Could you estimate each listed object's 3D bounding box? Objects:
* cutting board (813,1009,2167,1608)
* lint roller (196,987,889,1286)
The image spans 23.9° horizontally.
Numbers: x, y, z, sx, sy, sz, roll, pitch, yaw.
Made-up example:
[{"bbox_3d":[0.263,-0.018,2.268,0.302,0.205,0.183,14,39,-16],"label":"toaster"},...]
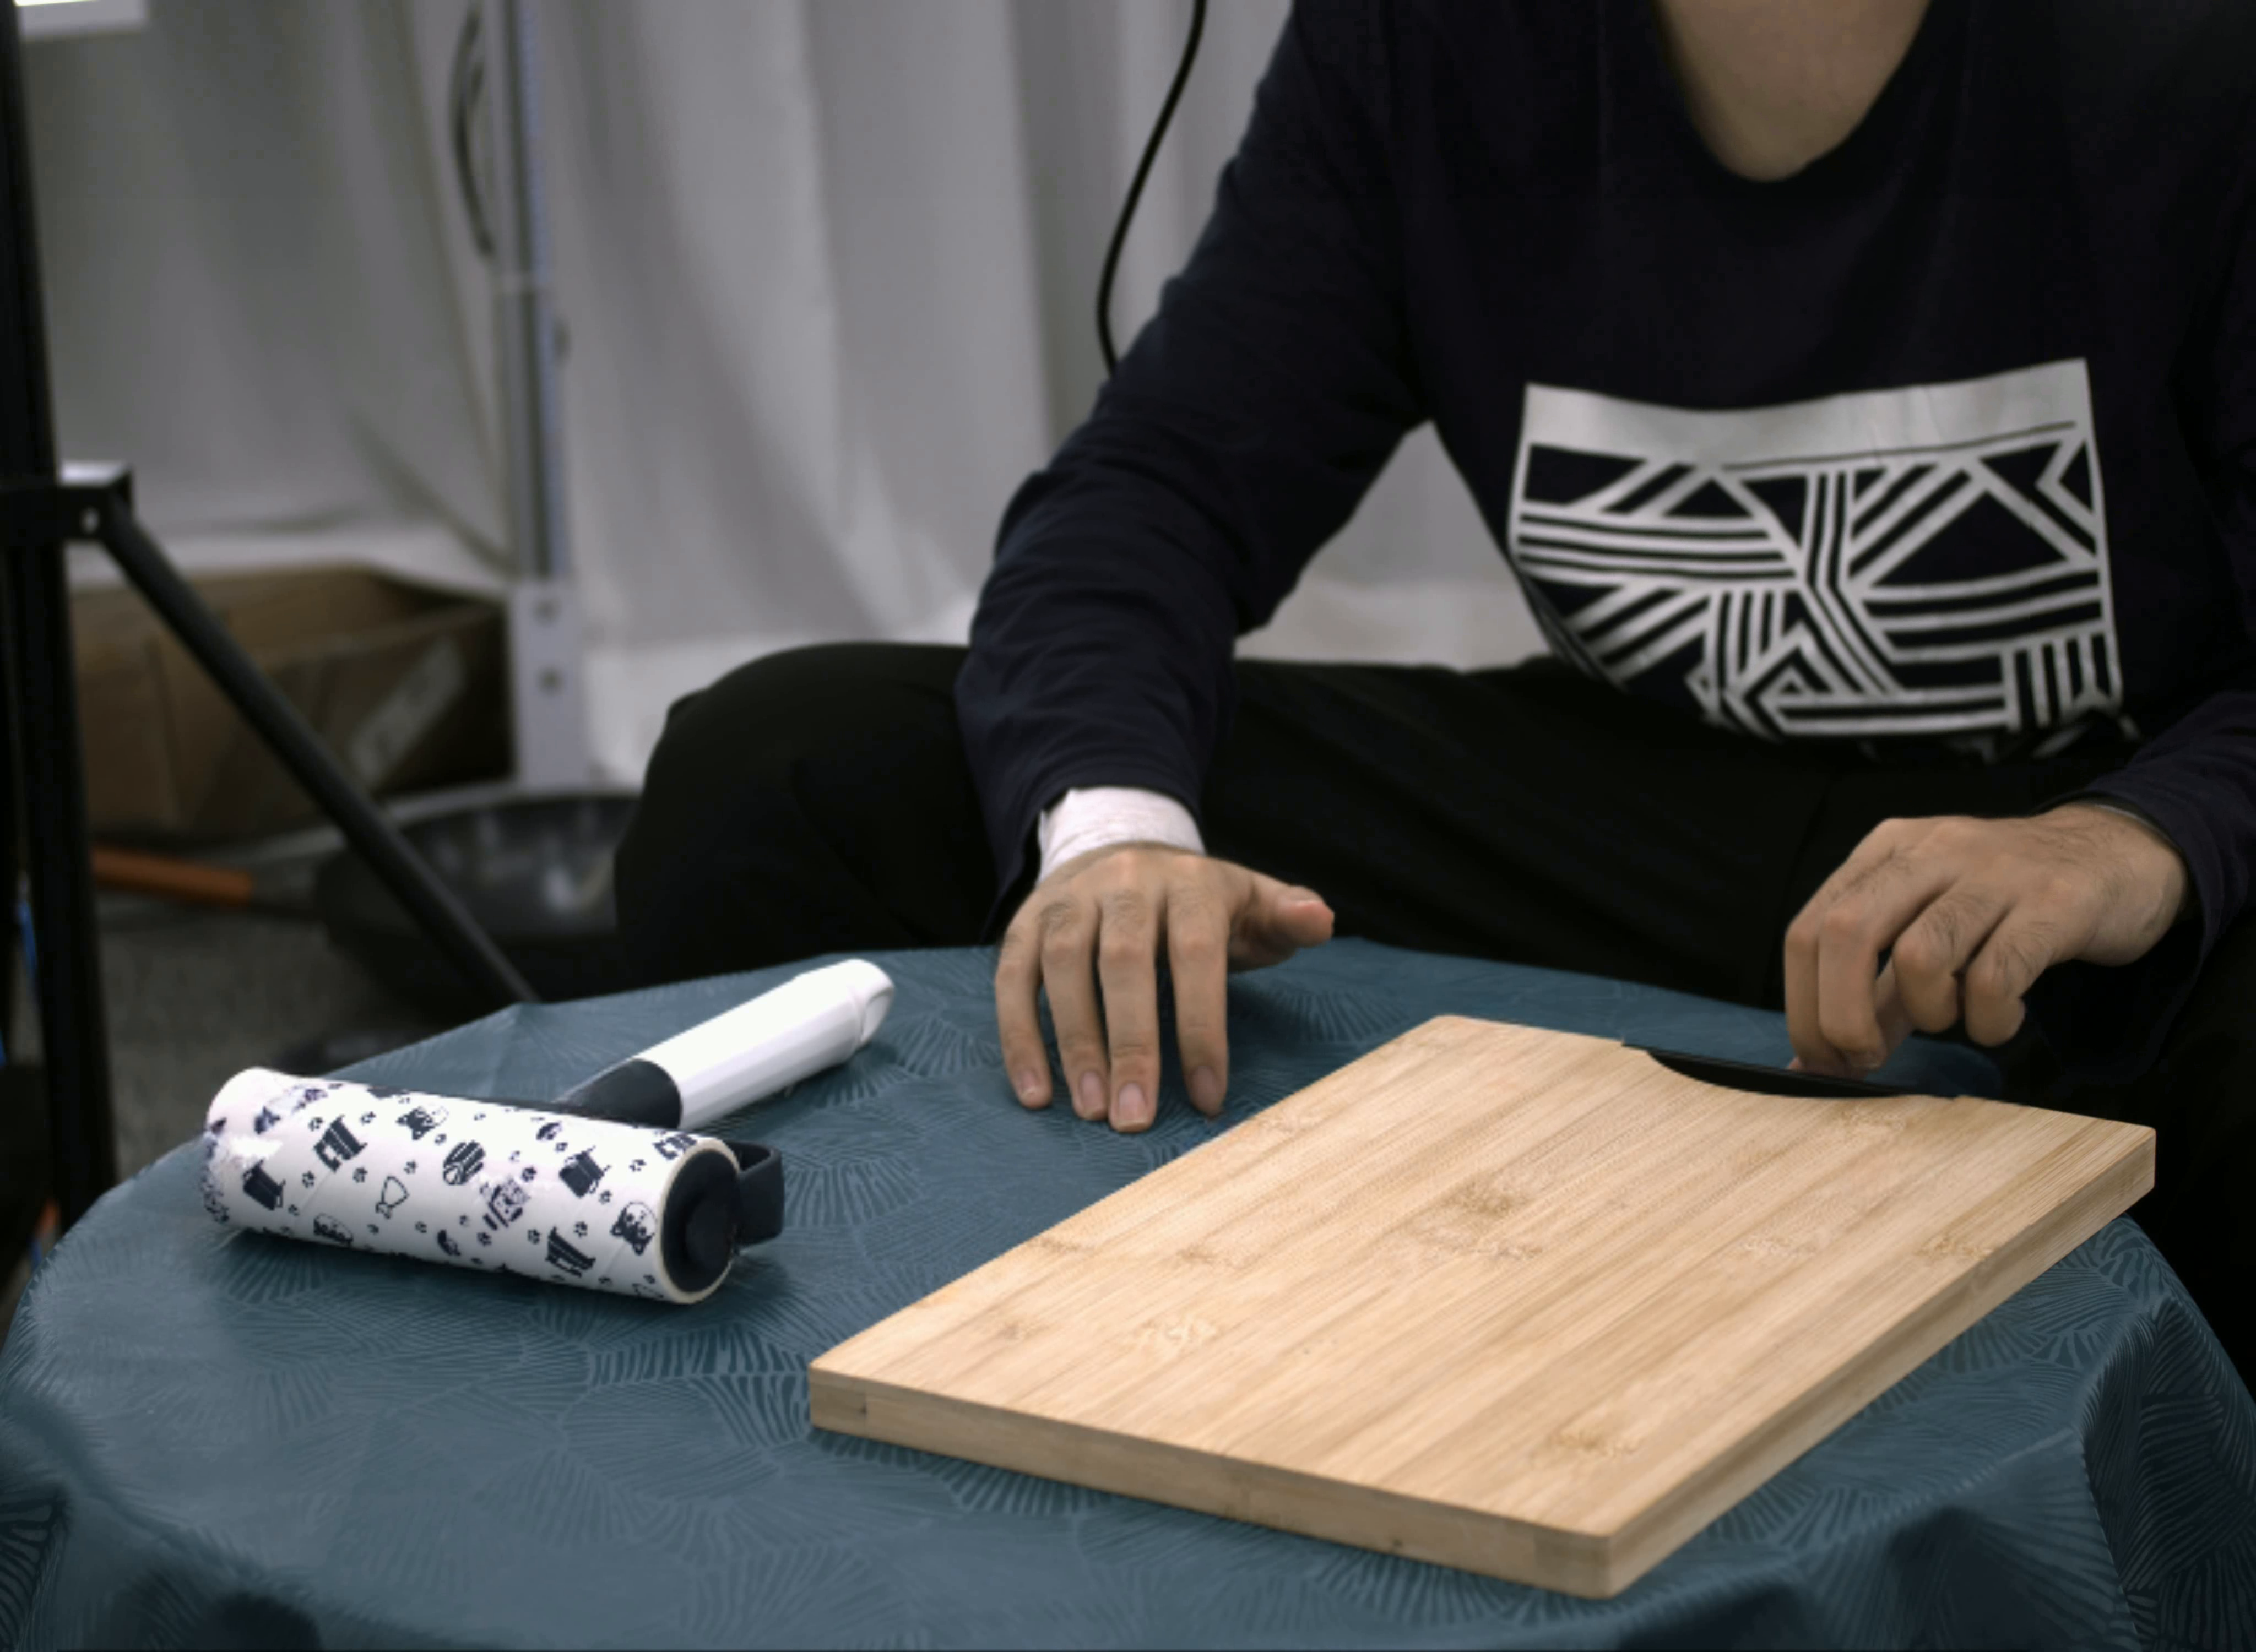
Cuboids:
[{"bbox_3d":[0.109,0.123,1.464,0.255,0.023,0.342,8,19,32],"label":"cutting board"},{"bbox_3d":[-0.142,0.079,1.612,0.179,0.050,0.242,5,15,28],"label":"lint roller"}]
